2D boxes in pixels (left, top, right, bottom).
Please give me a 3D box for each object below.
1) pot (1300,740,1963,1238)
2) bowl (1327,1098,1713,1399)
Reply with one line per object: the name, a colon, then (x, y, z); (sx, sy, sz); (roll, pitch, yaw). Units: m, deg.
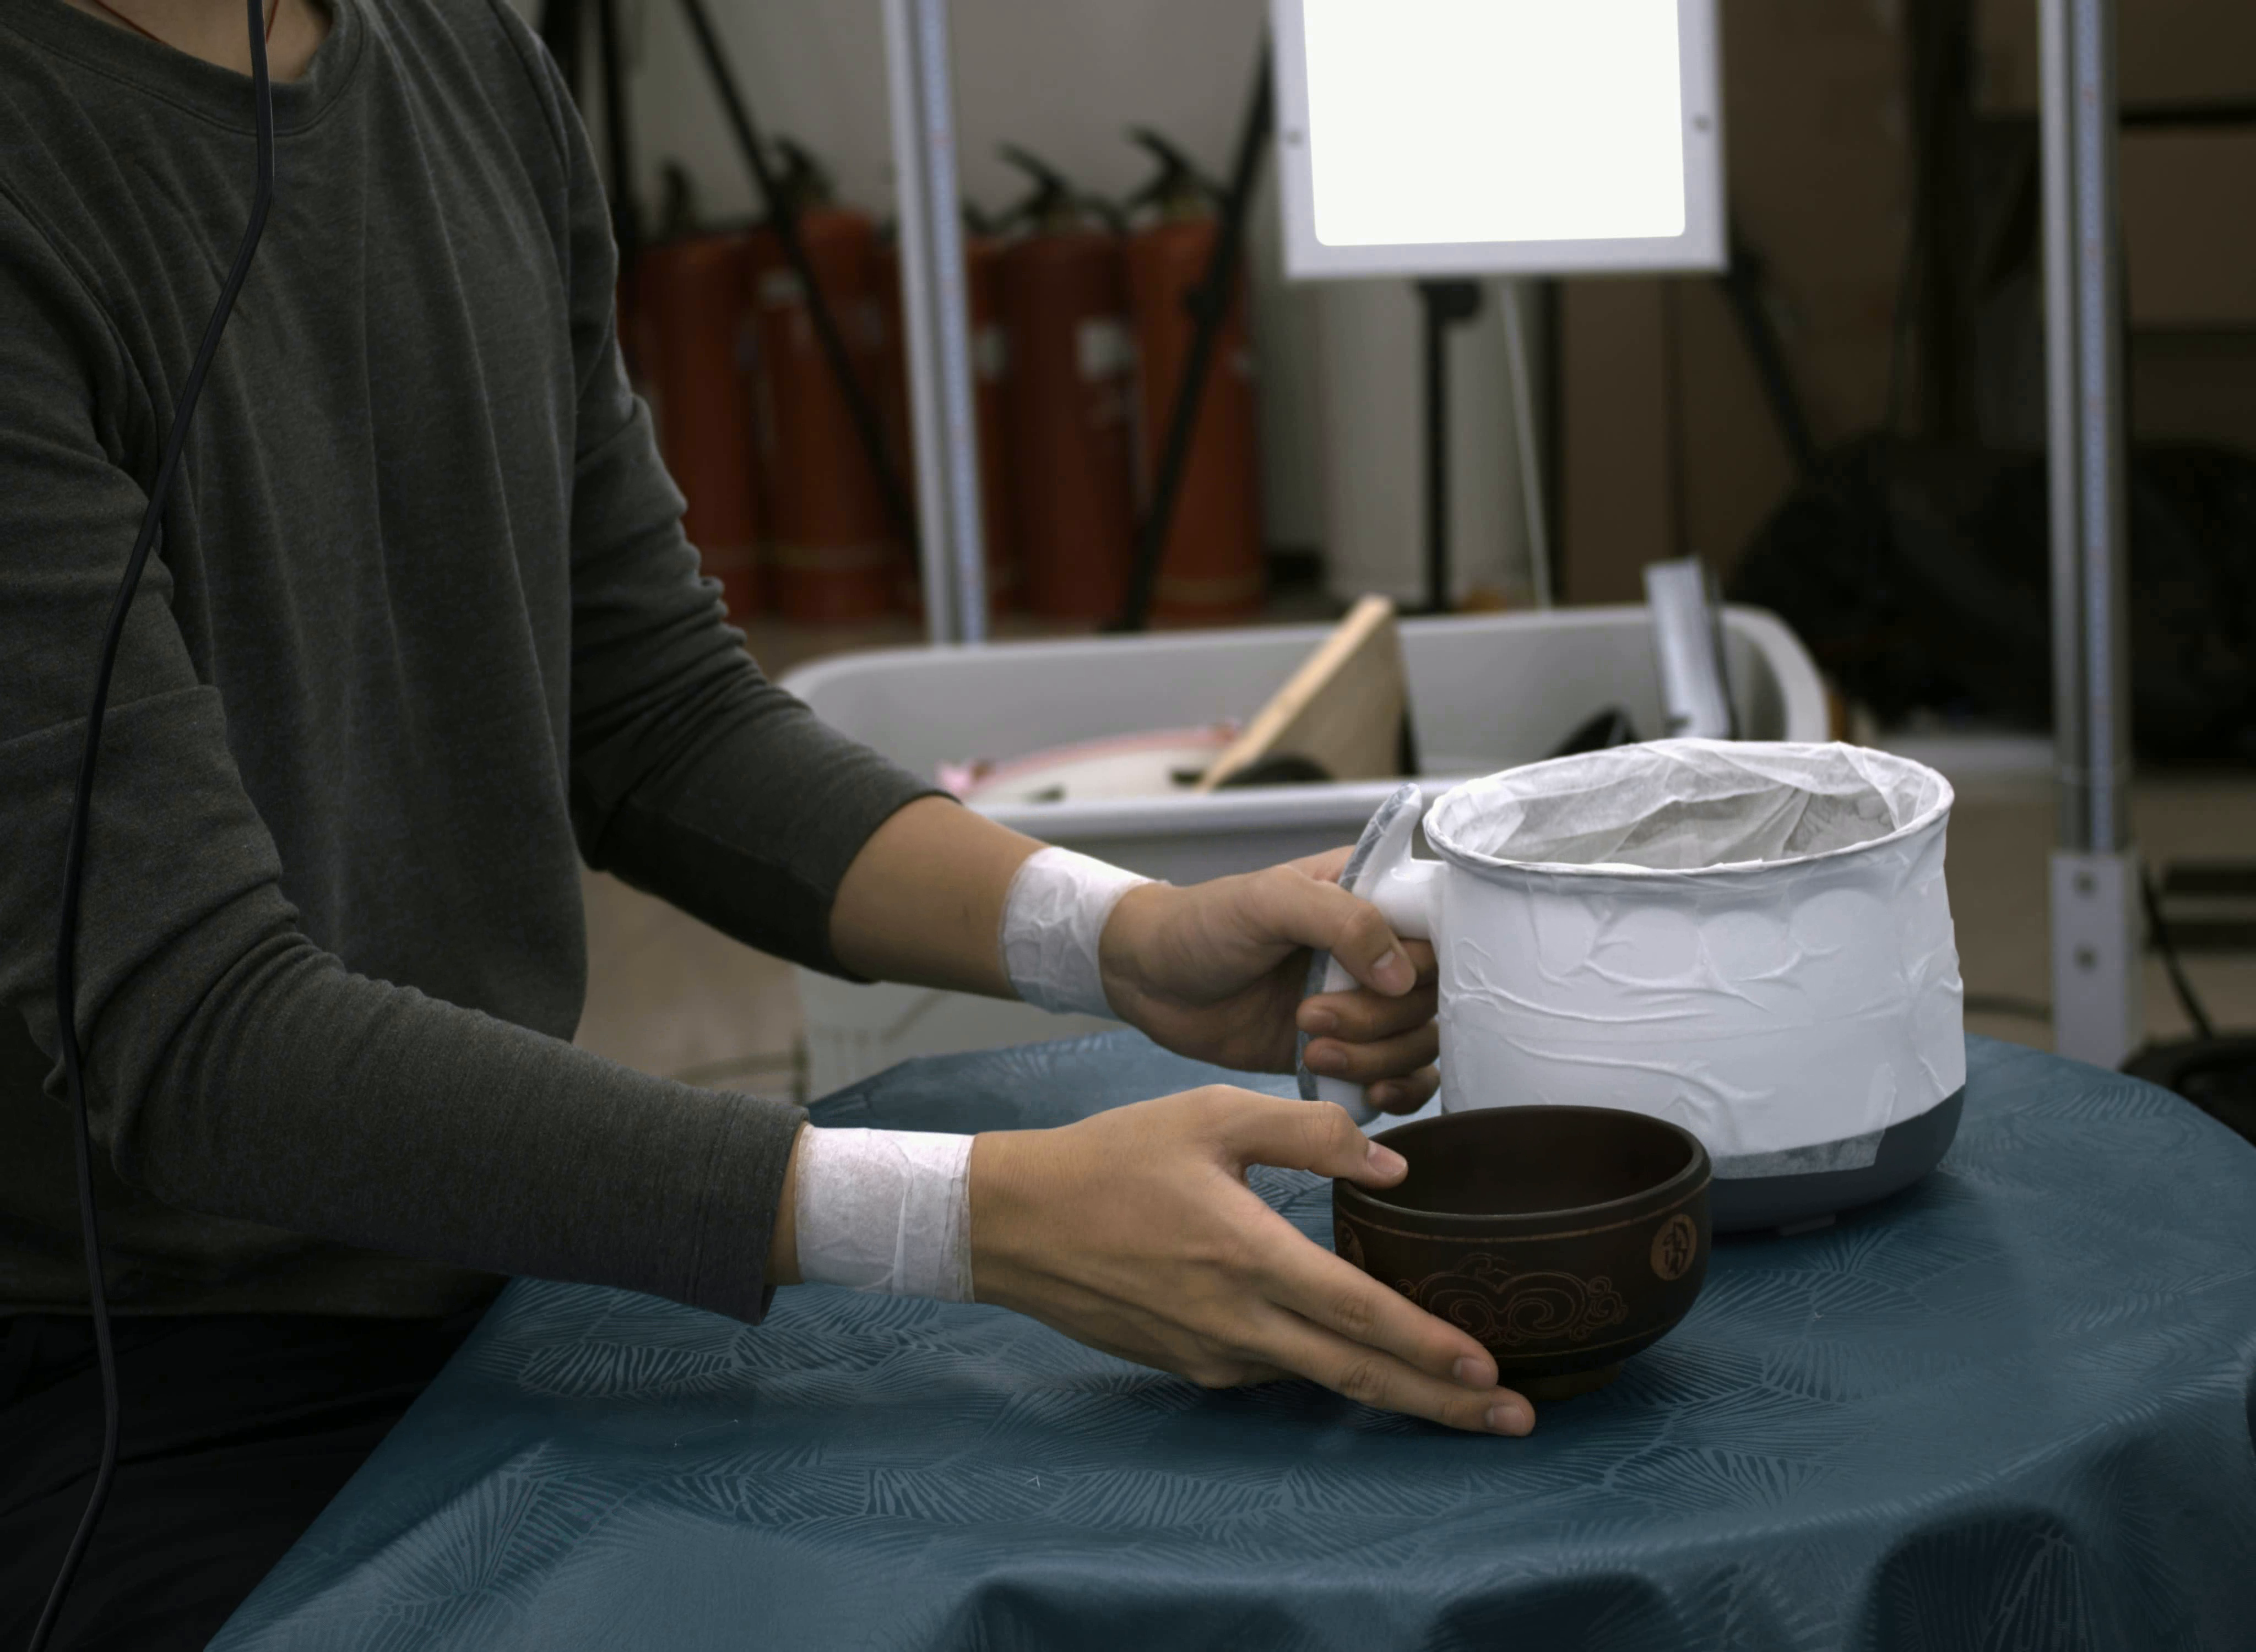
pot: (0.166, 0.054, 1.854); (0.237, 0.137, 0.175); (0, 15, 25)
bowl: (0.122, 0.133, 1.679); (0.118, 0.070, 0.118); (-8, 14, 0)
